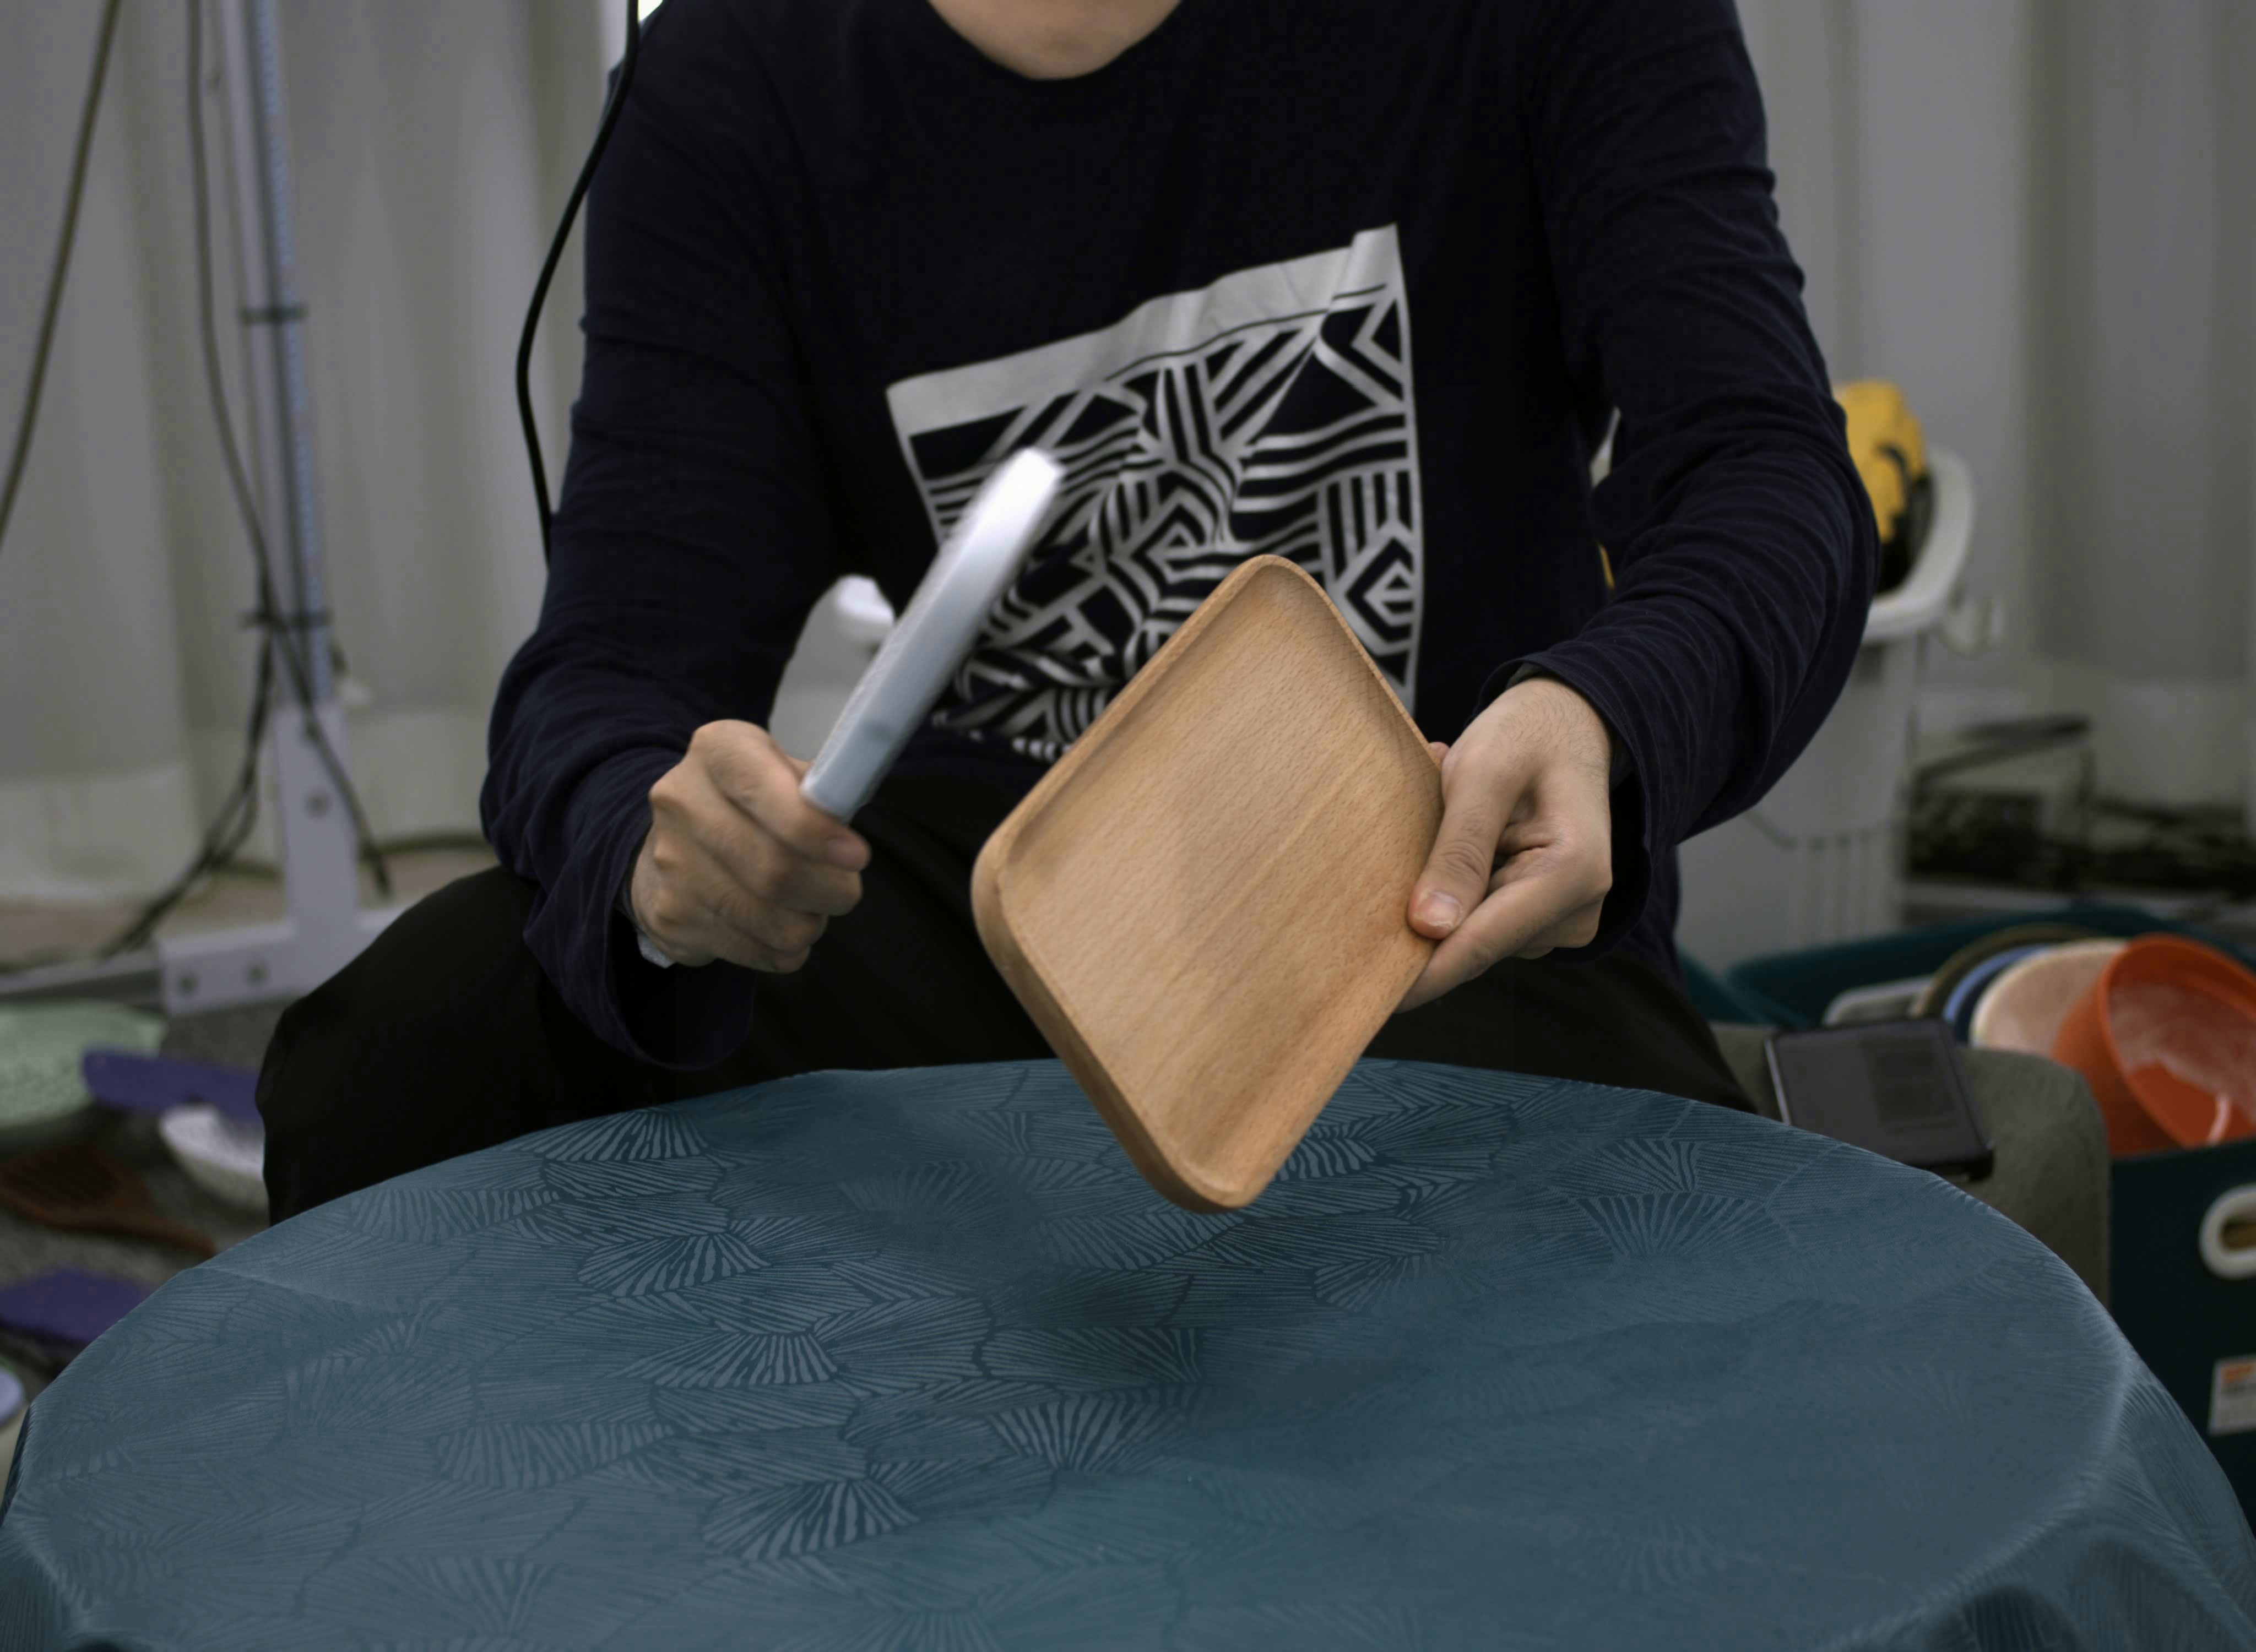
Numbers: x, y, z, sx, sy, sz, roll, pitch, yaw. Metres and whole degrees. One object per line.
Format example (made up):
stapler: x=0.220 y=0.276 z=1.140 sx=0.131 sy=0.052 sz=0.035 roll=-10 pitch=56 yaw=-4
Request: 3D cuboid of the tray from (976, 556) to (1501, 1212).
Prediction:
tray: x=0.035 y=0.013 z=1.597 sx=0.023 sy=0.130 sz=0.252 roll=-26 pitch=10 yaw=31

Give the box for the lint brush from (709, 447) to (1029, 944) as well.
lint brush: x=-0.083 y=-0.032 z=1.666 sx=0.021 sy=0.061 sz=0.306 roll=27 pitch=-30 yaw=-6
